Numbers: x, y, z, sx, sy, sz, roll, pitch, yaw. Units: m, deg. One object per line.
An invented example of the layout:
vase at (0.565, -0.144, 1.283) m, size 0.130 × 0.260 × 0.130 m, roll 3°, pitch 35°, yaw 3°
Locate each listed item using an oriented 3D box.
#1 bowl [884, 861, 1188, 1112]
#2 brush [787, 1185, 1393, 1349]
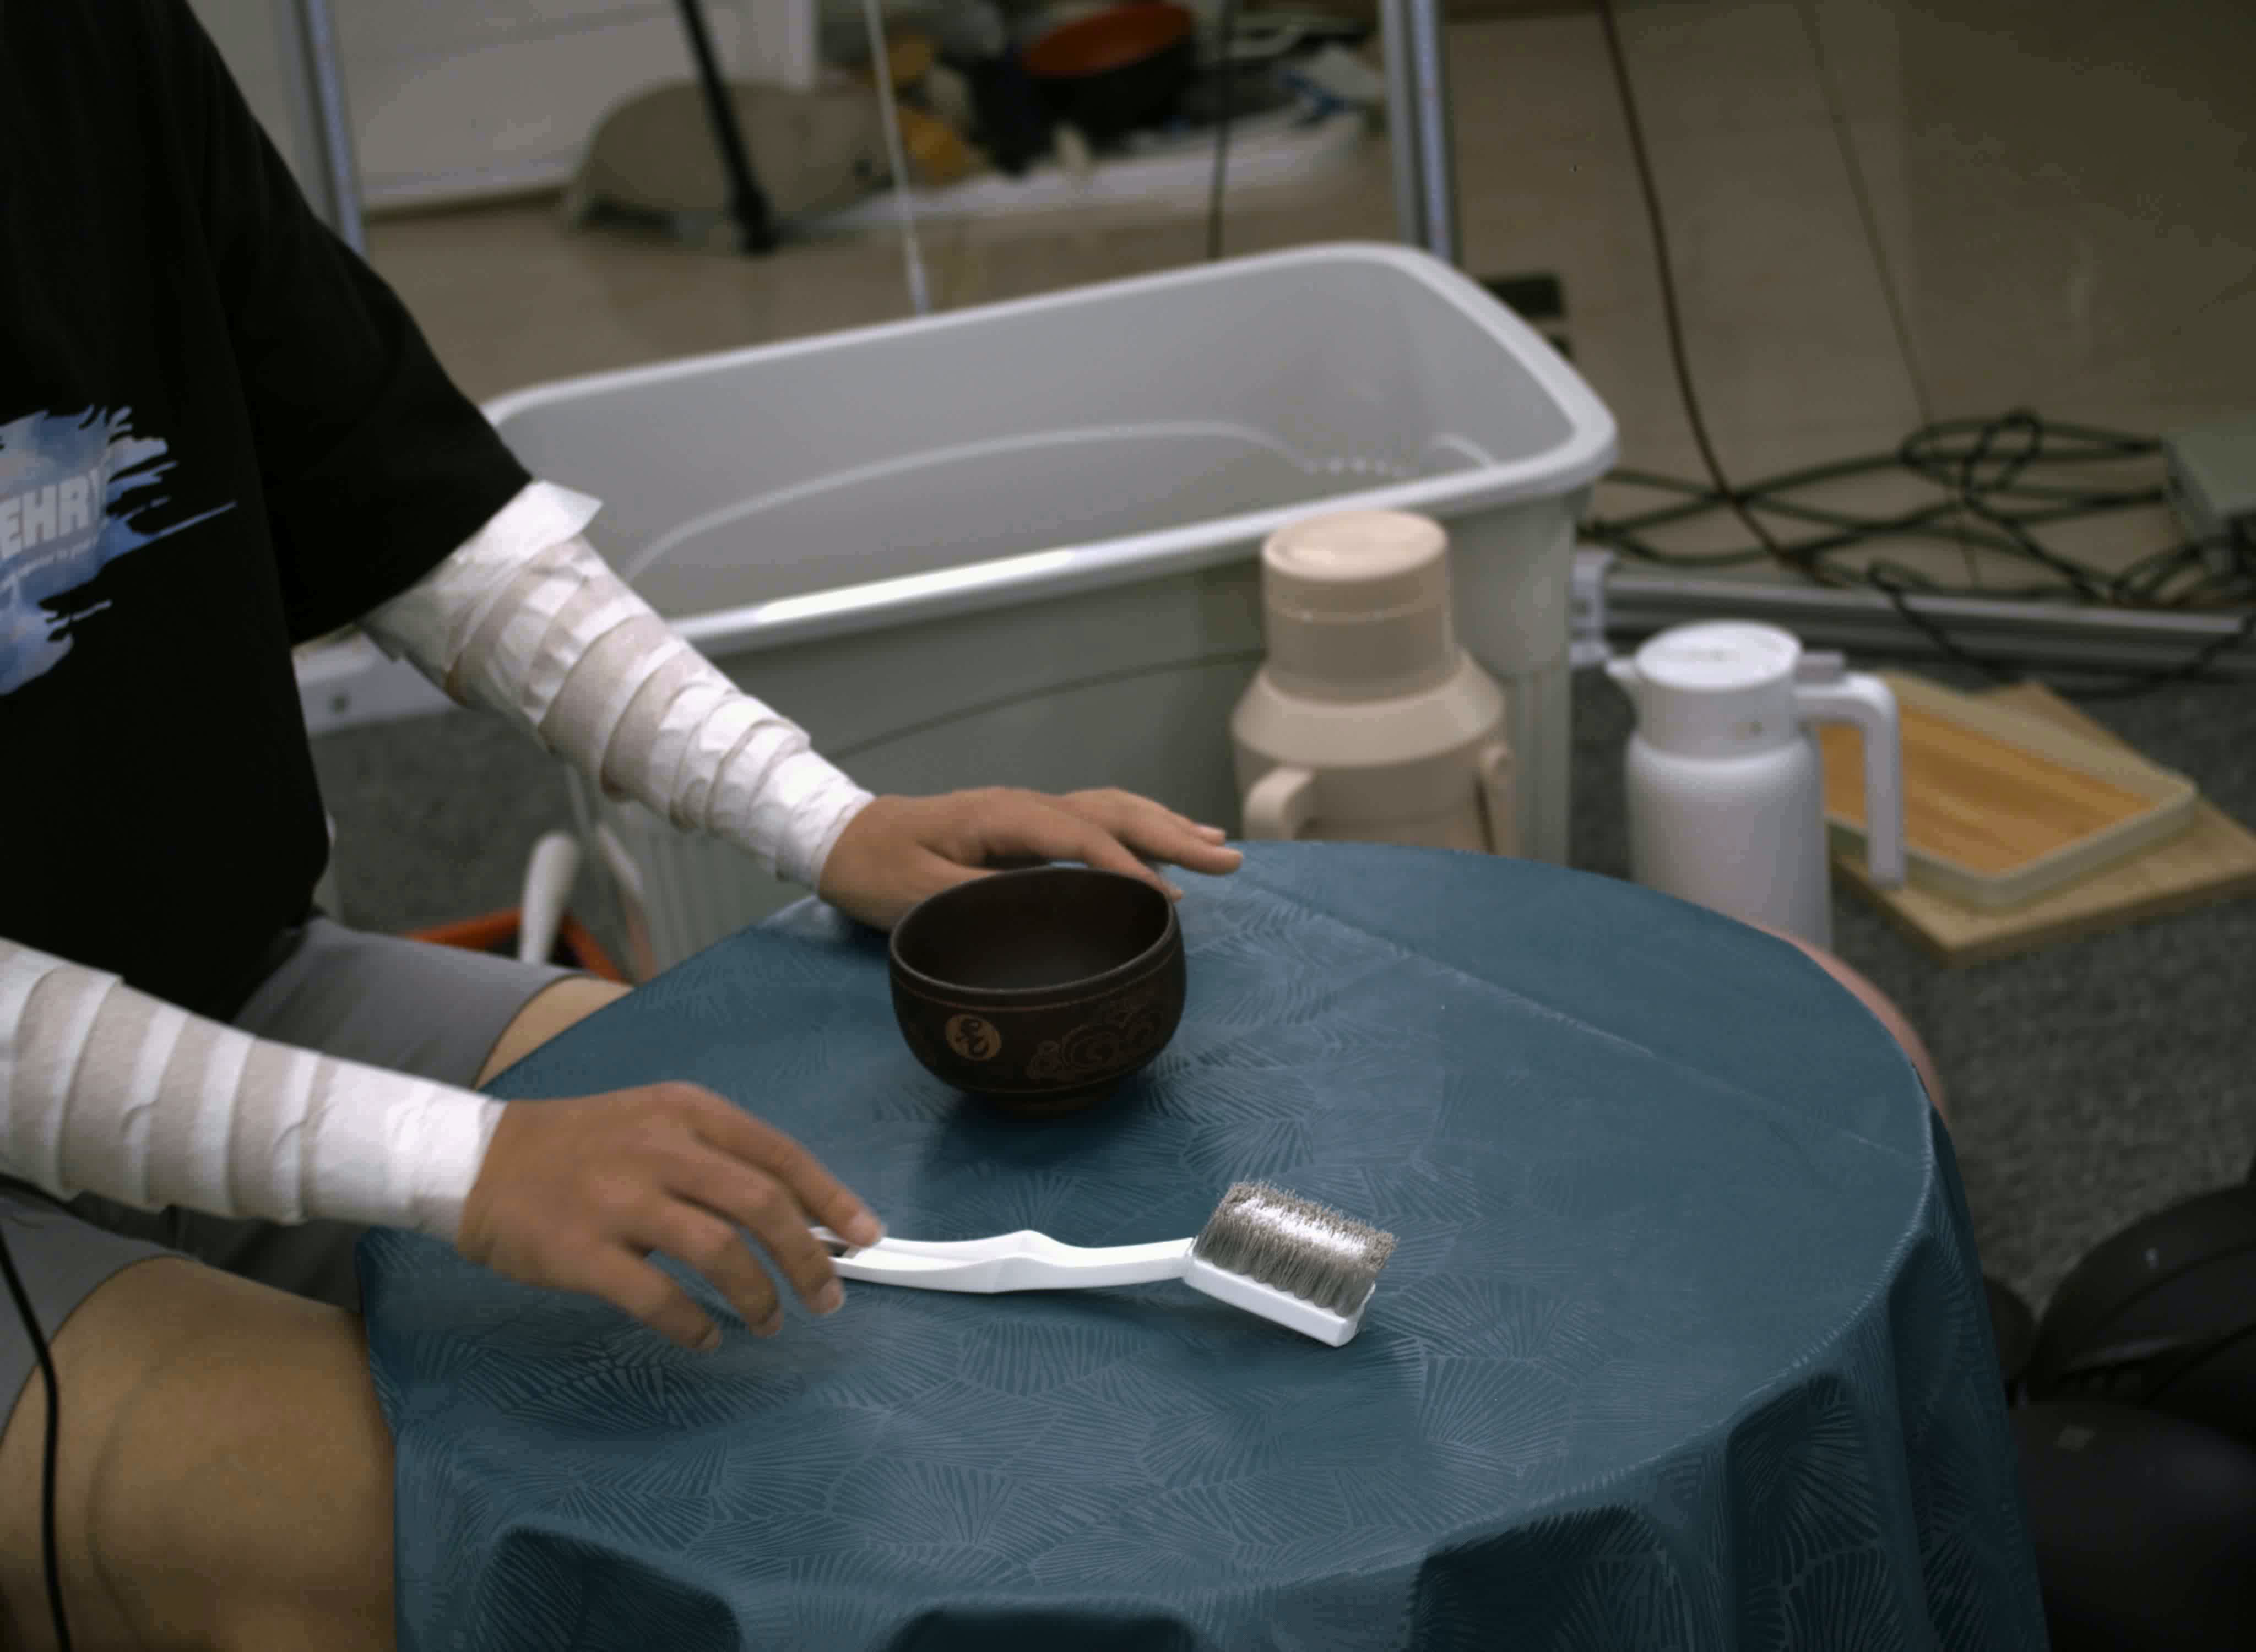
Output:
bowl at (-0.034, 0.069, 2.220) m, size 0.118 × 0.071 × 0.116 m, roll -7°, pitch 25°, yaw 4°
brush at (-0.019, 0.148, 2.070) m, size 0.243 × 0.051 × 0.034 m, roll 7°, pitch 27°, yaw 25°
